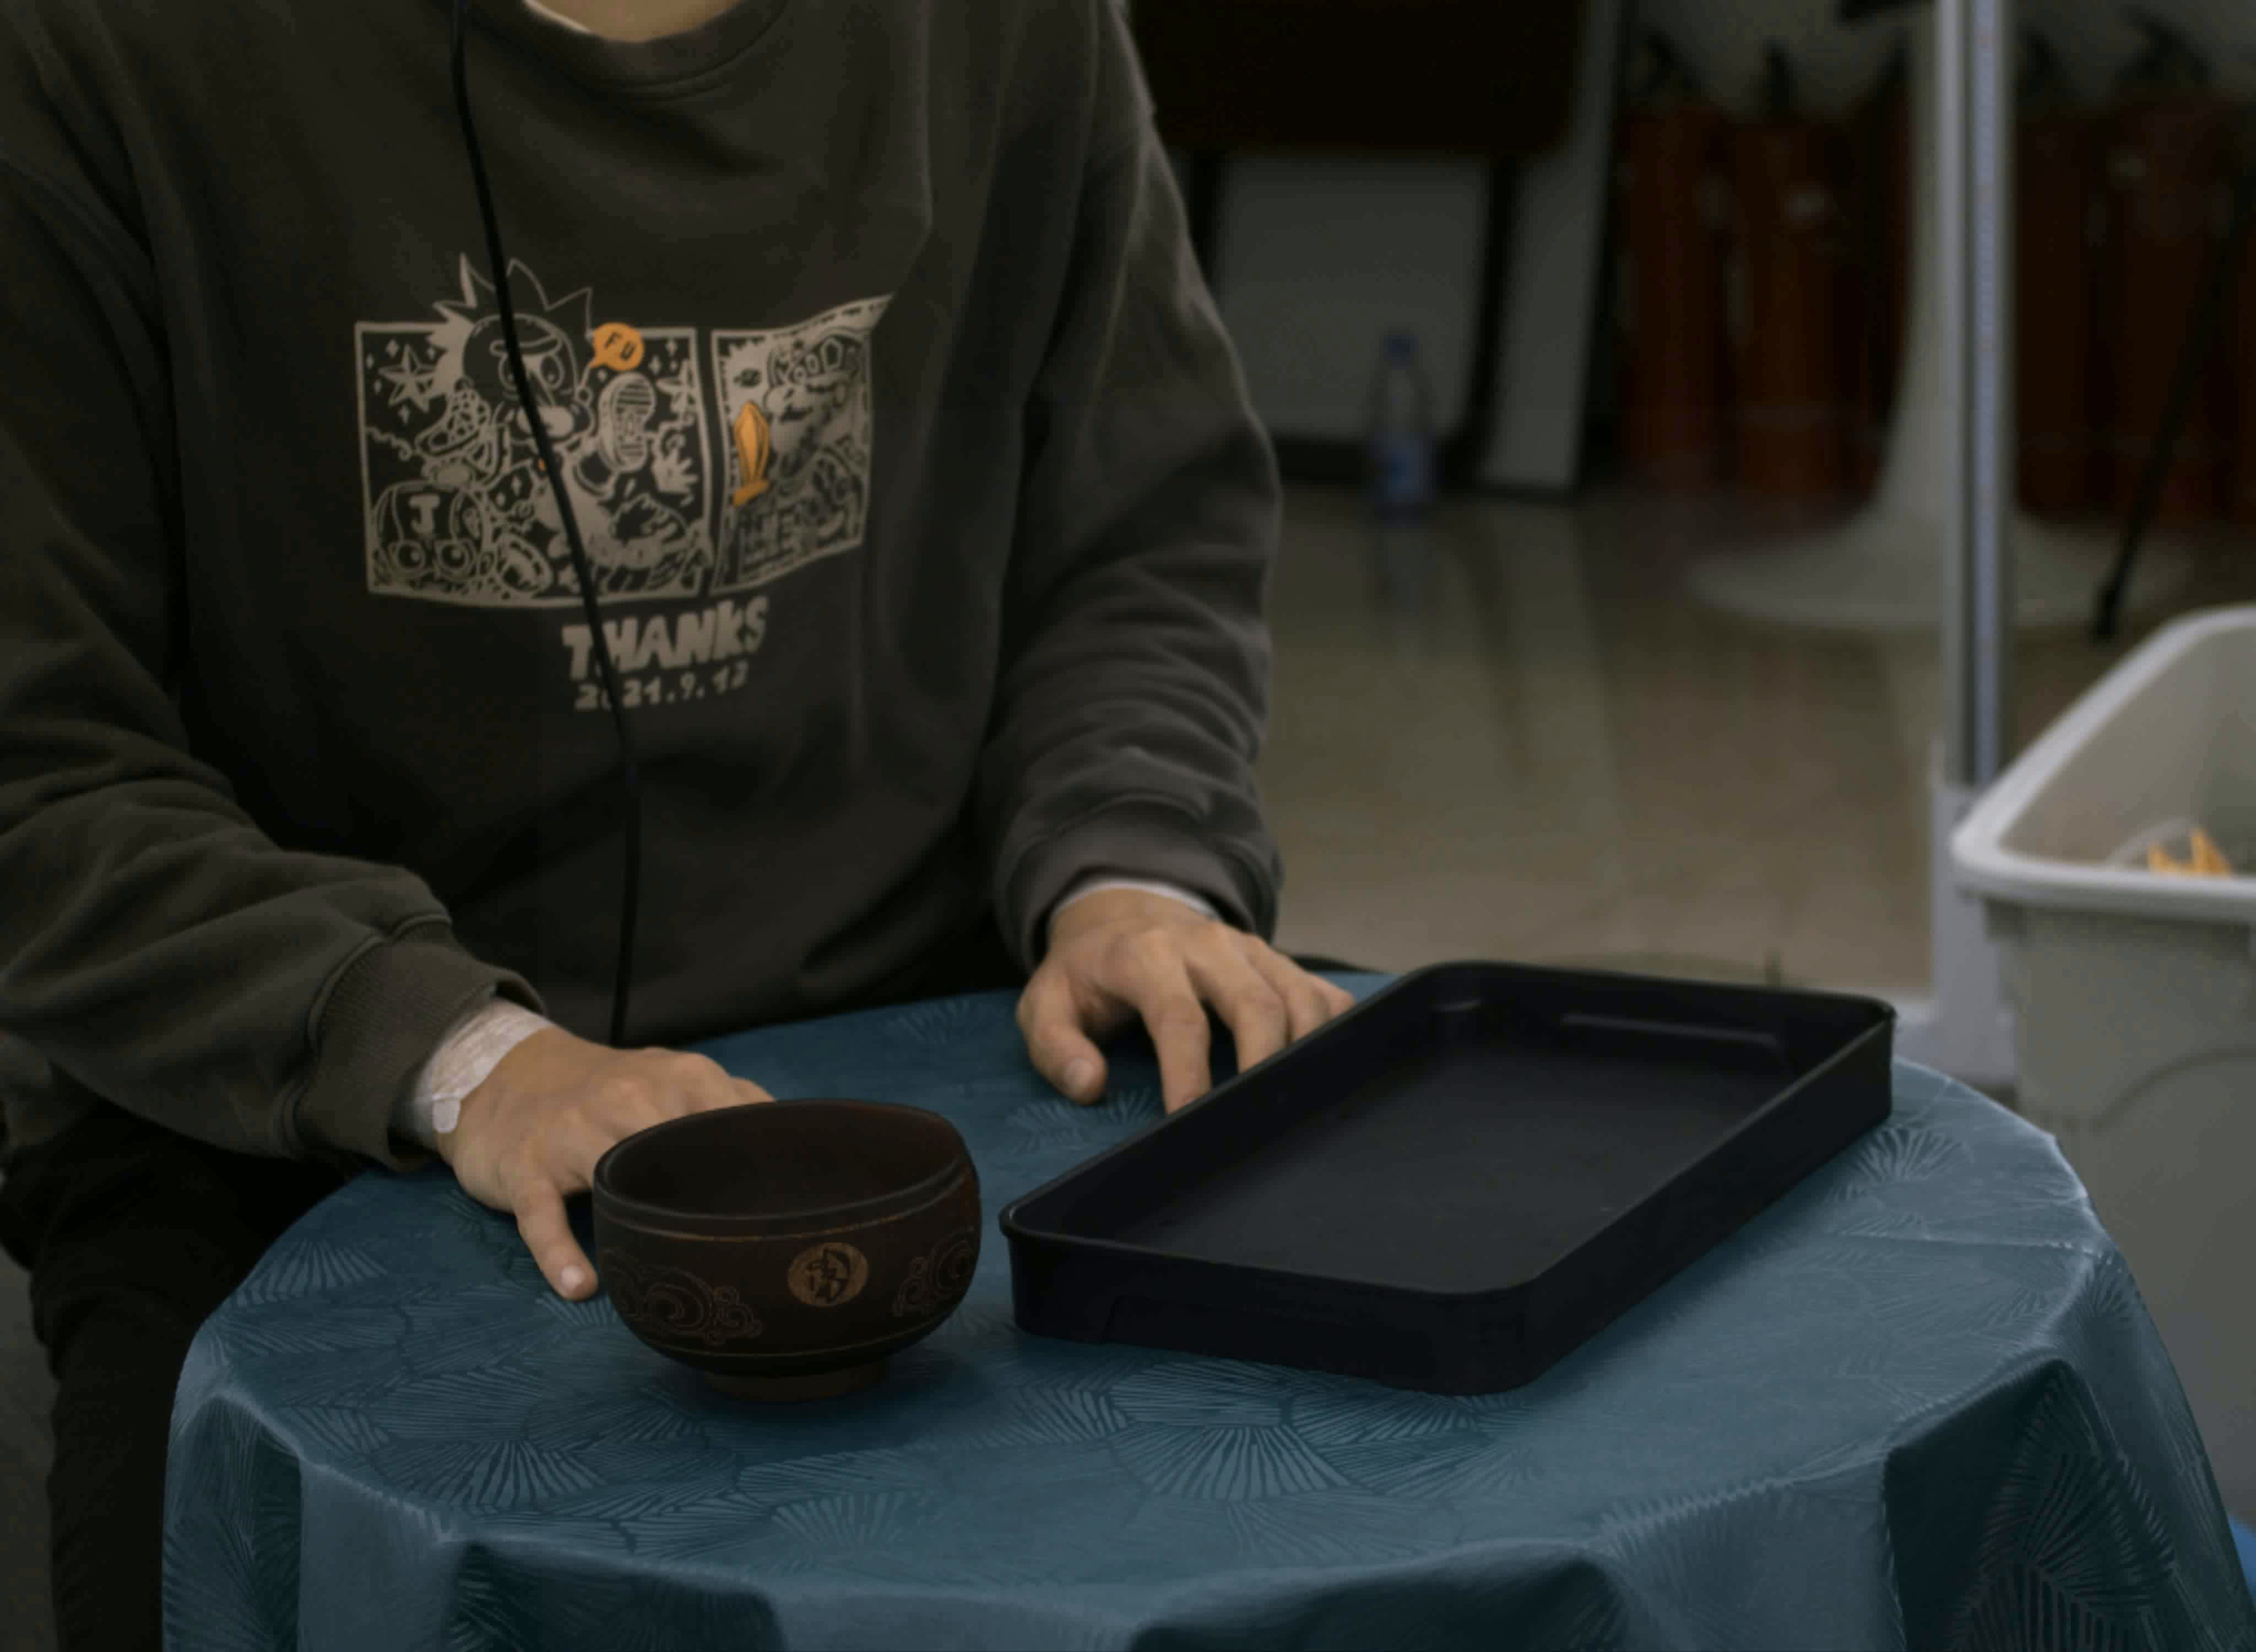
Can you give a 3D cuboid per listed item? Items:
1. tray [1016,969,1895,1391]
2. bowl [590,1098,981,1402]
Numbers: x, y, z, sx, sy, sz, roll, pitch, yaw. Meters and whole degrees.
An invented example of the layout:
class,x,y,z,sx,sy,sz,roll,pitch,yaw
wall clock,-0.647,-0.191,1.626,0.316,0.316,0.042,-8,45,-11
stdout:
class,x,y,z,sx,sy,sz,roll,pitch,yaw
tray,0.113,0.107,1.727,0.185,0.037,0.313,3,15,29
bowl,-0.101,0.130,1.616,0.116,0.070,0.118,-5,12,0
